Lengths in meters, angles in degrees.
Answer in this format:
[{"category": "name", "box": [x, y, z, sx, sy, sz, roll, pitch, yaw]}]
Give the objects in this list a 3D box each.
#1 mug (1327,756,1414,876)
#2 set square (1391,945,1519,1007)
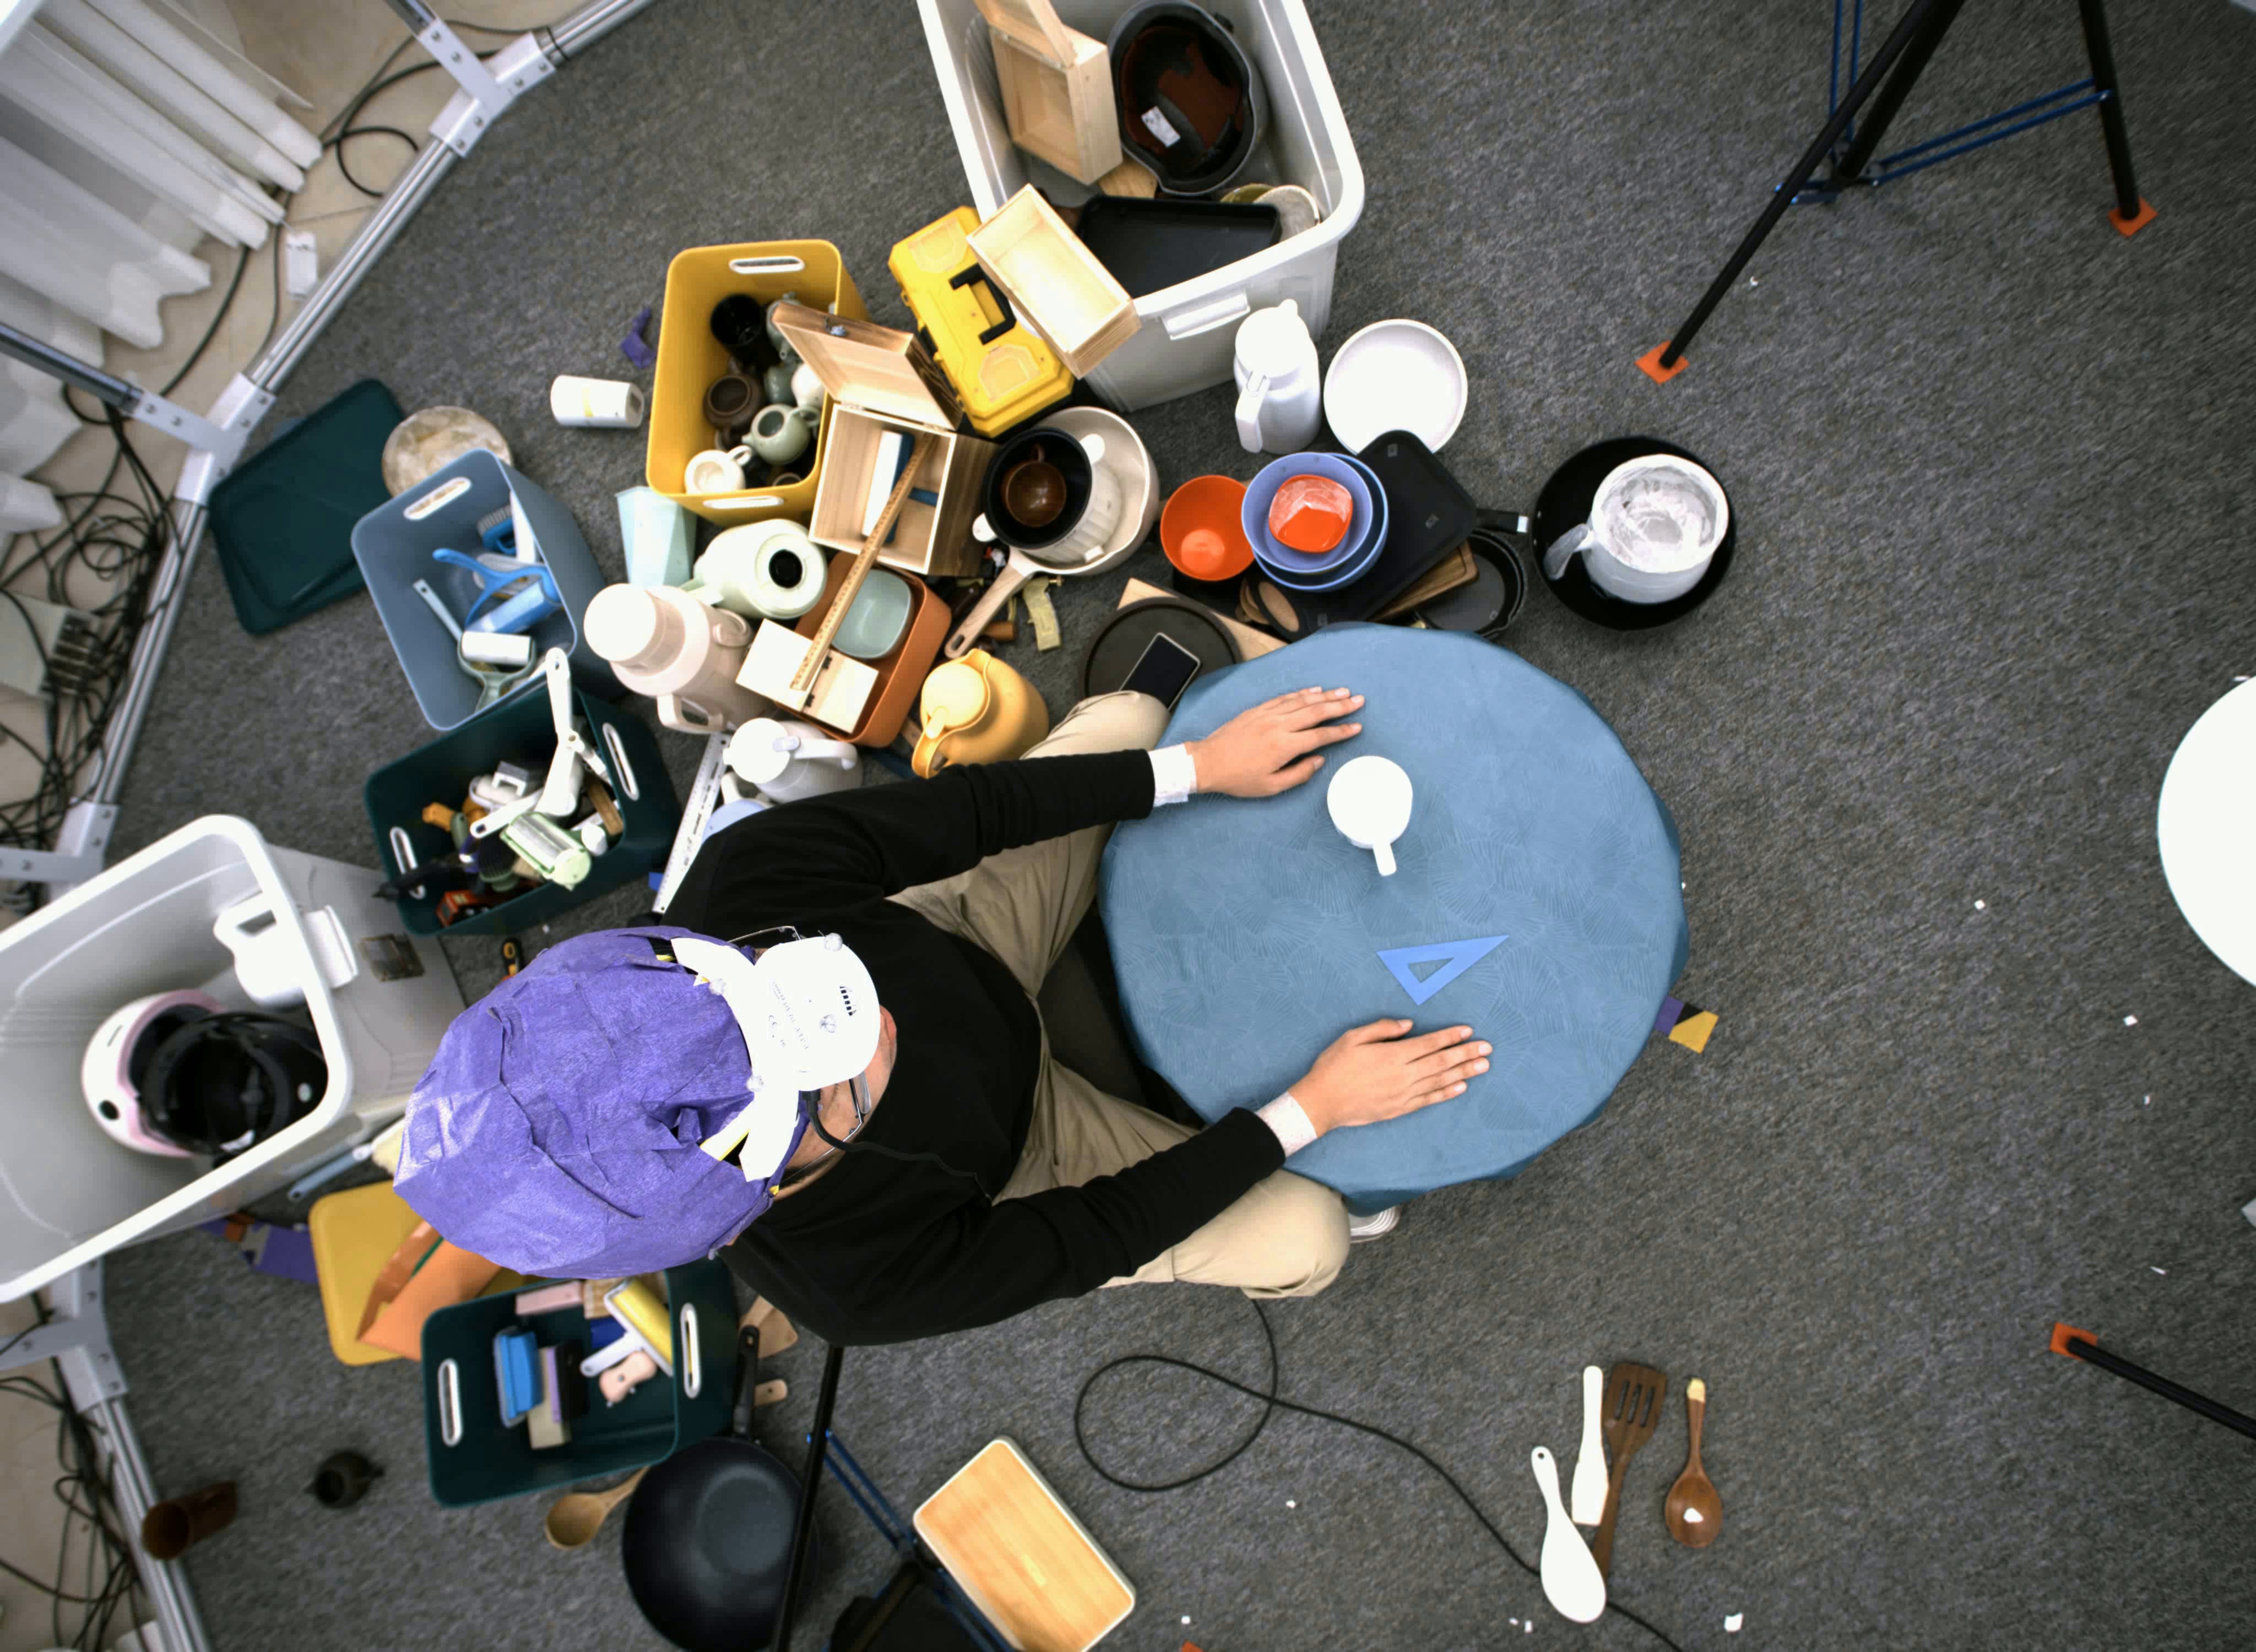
[{"category": "mug", "box": [0.253, -0.008, 1.416, 0.085, 0.102, 0.117, -14, 83, 8]}, {"category": "set square", "box": [0.343, 0.155, 1.440, 0.132, 0.006, 0.061, -4, 85, 10]}]
